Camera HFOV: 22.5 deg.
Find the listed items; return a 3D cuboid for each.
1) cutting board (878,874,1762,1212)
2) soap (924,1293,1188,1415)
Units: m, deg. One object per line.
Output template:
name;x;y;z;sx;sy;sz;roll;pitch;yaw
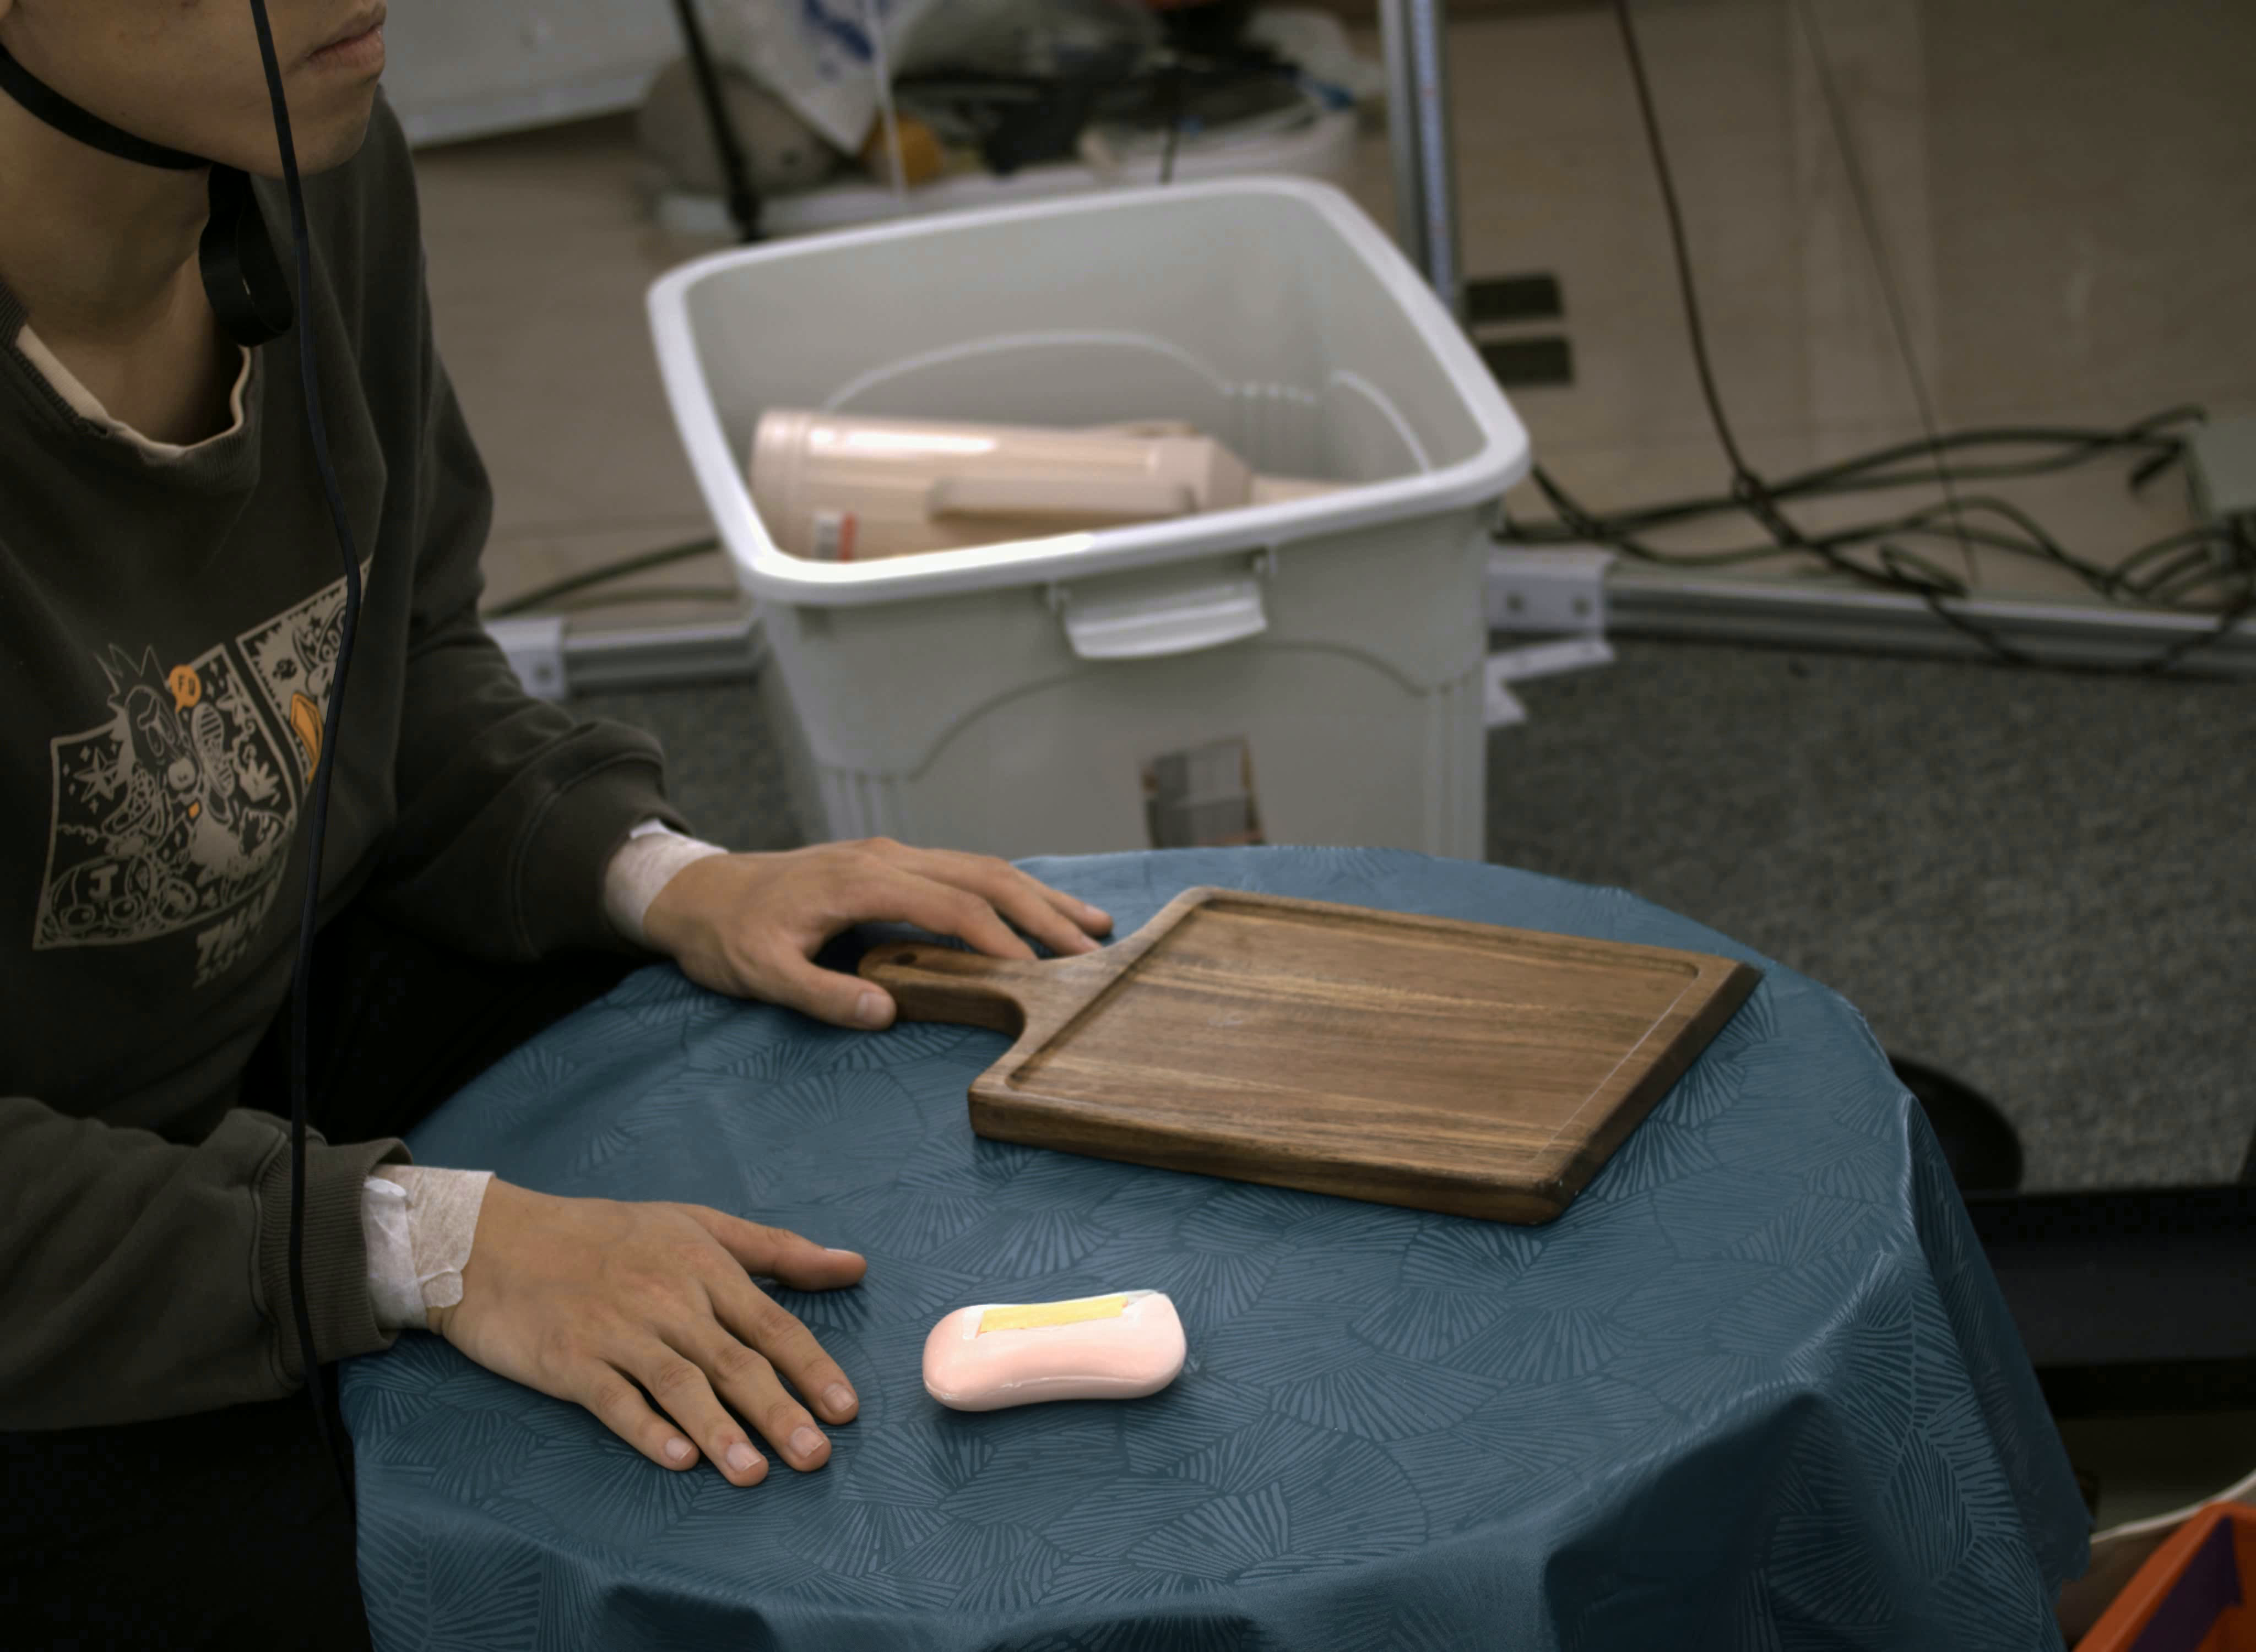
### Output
cutting board;0.055;0.075;2.244;0.350;0.023;0.198;8;29;29
soap;-0.025;0.188;2.016;0.094;0.031;0.049;-6;25;5
